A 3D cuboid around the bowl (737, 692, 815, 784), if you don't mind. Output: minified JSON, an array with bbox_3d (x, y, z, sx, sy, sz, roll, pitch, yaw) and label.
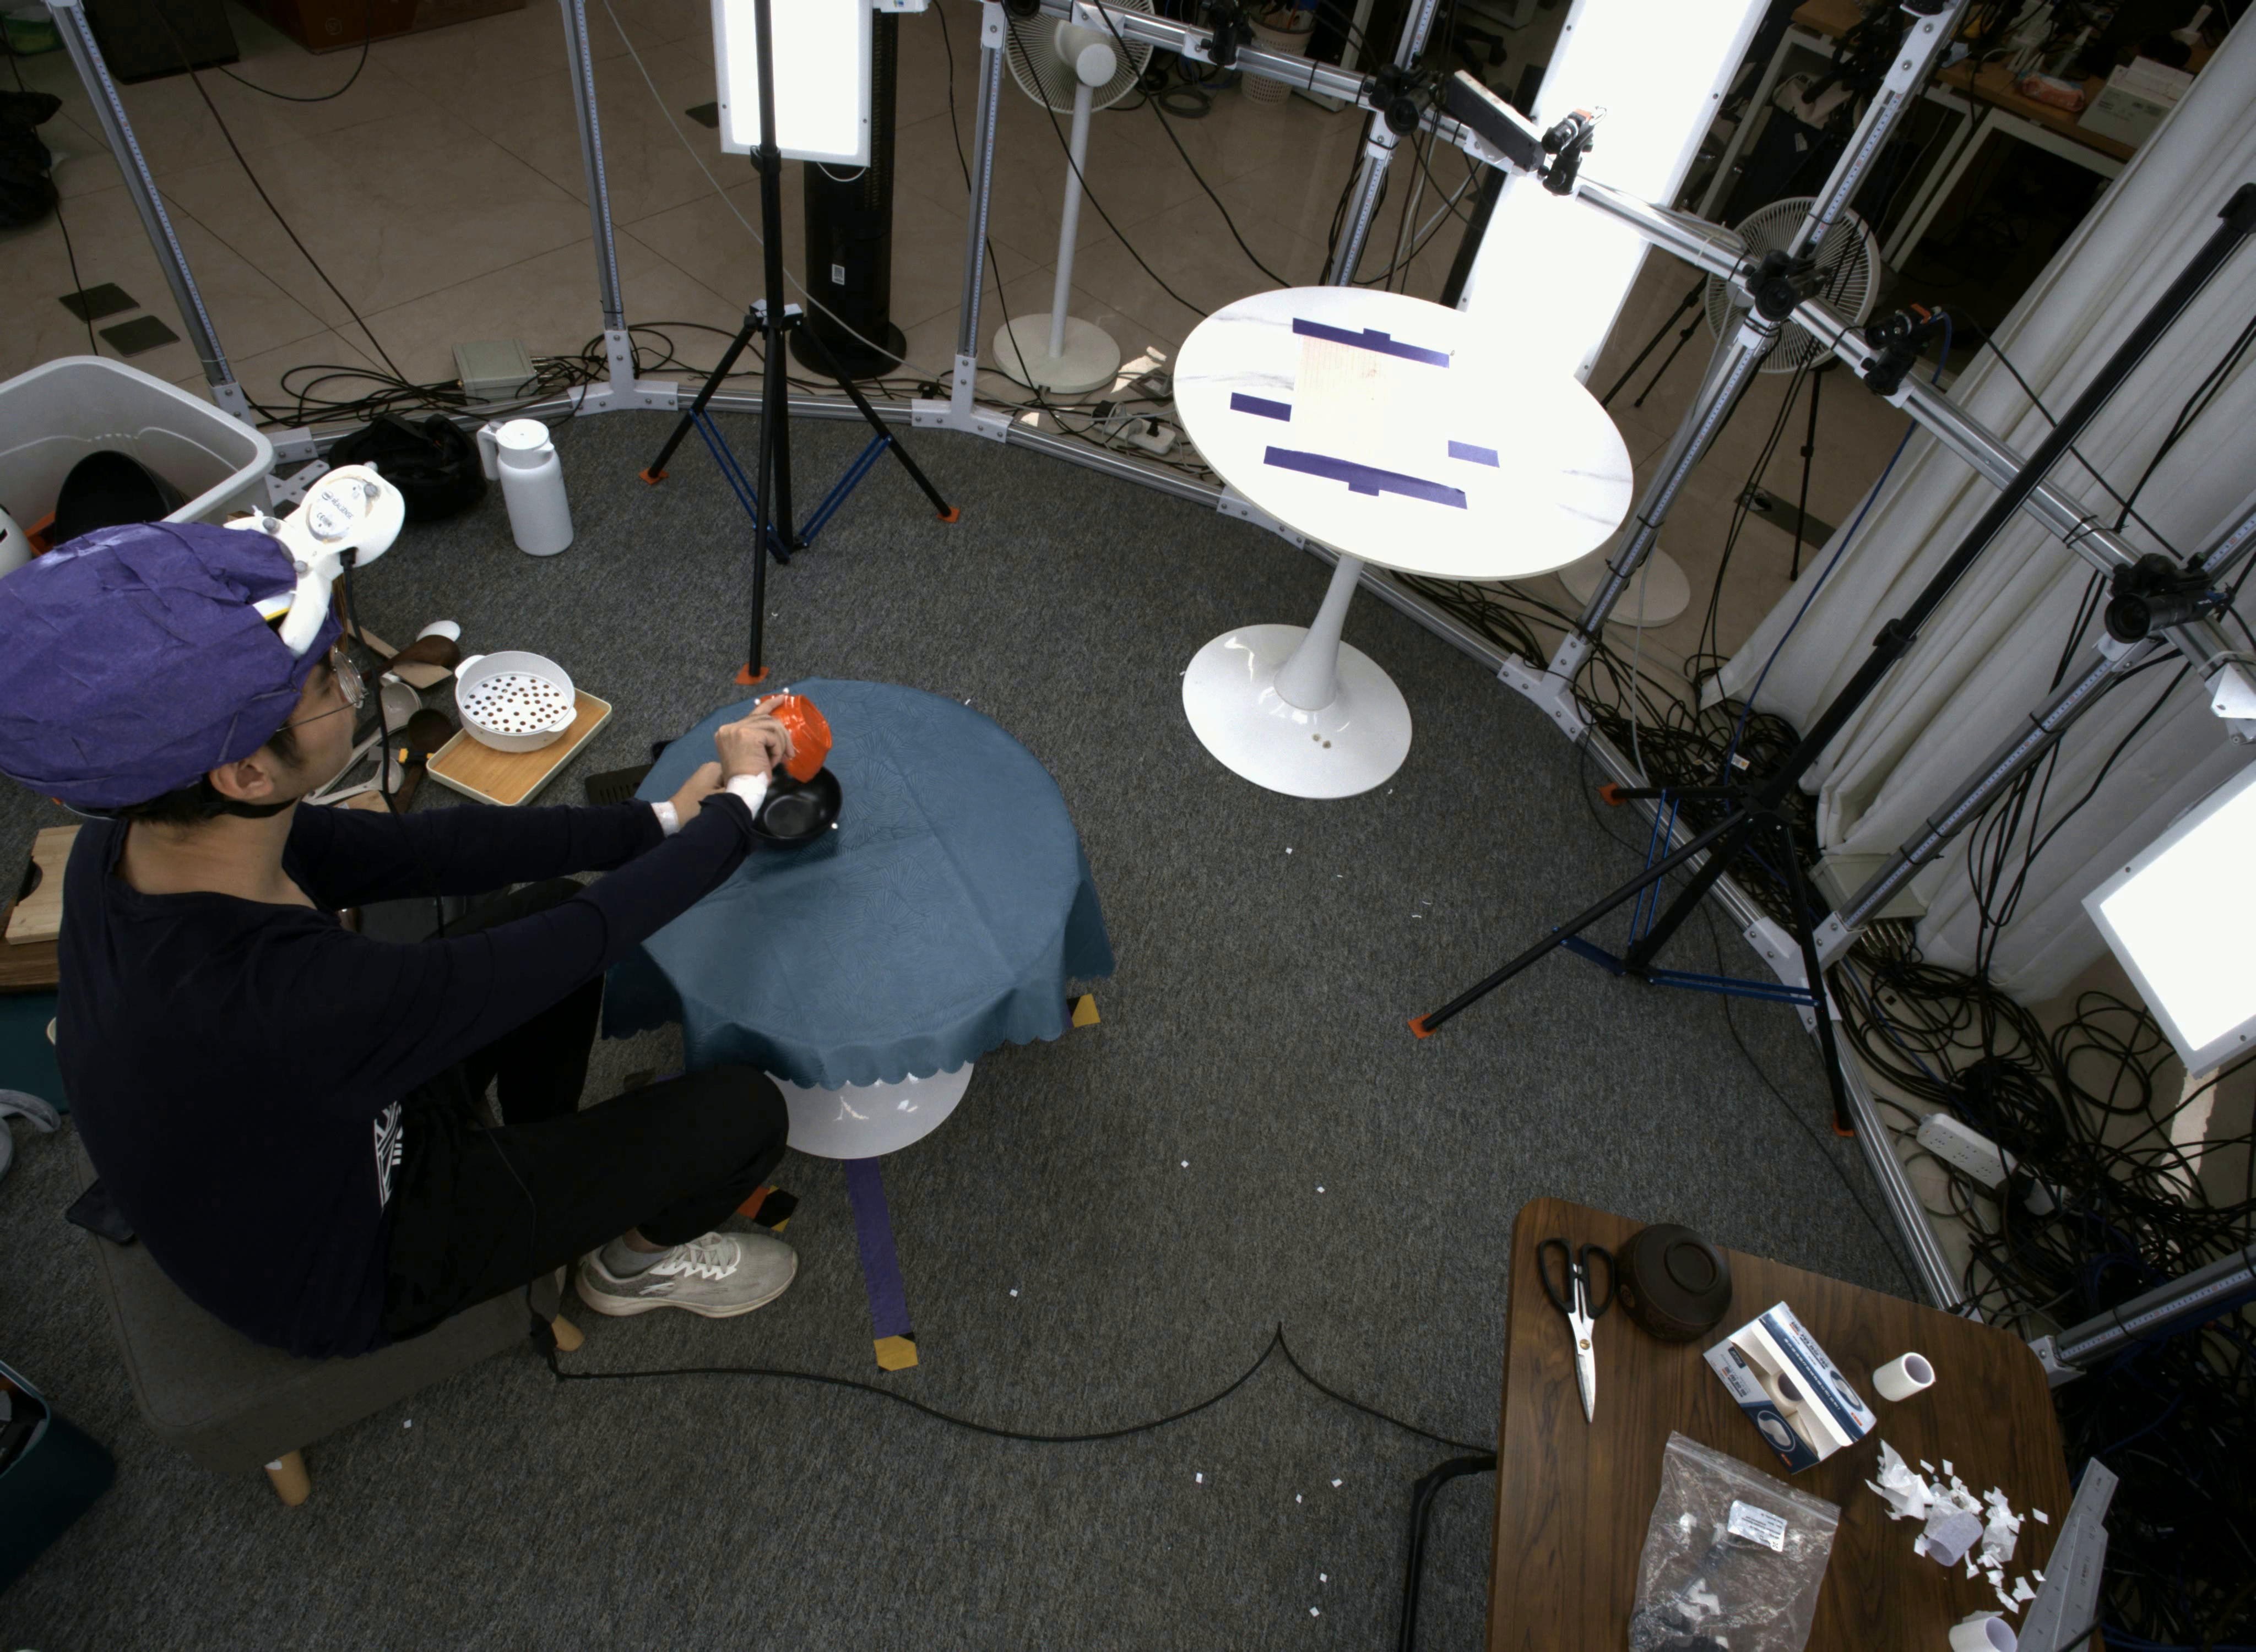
[{"bbox_3d":[-0.425,-0.116,1.584,0.051,0.123,0.116,-27,57,8],"label":"bowl"}]

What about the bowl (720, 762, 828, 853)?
[{"bbox_3d":[-0.464,-0.018,1.709,0.139,0.051,0.138,5,56,-5],"label":"bowl"}]
